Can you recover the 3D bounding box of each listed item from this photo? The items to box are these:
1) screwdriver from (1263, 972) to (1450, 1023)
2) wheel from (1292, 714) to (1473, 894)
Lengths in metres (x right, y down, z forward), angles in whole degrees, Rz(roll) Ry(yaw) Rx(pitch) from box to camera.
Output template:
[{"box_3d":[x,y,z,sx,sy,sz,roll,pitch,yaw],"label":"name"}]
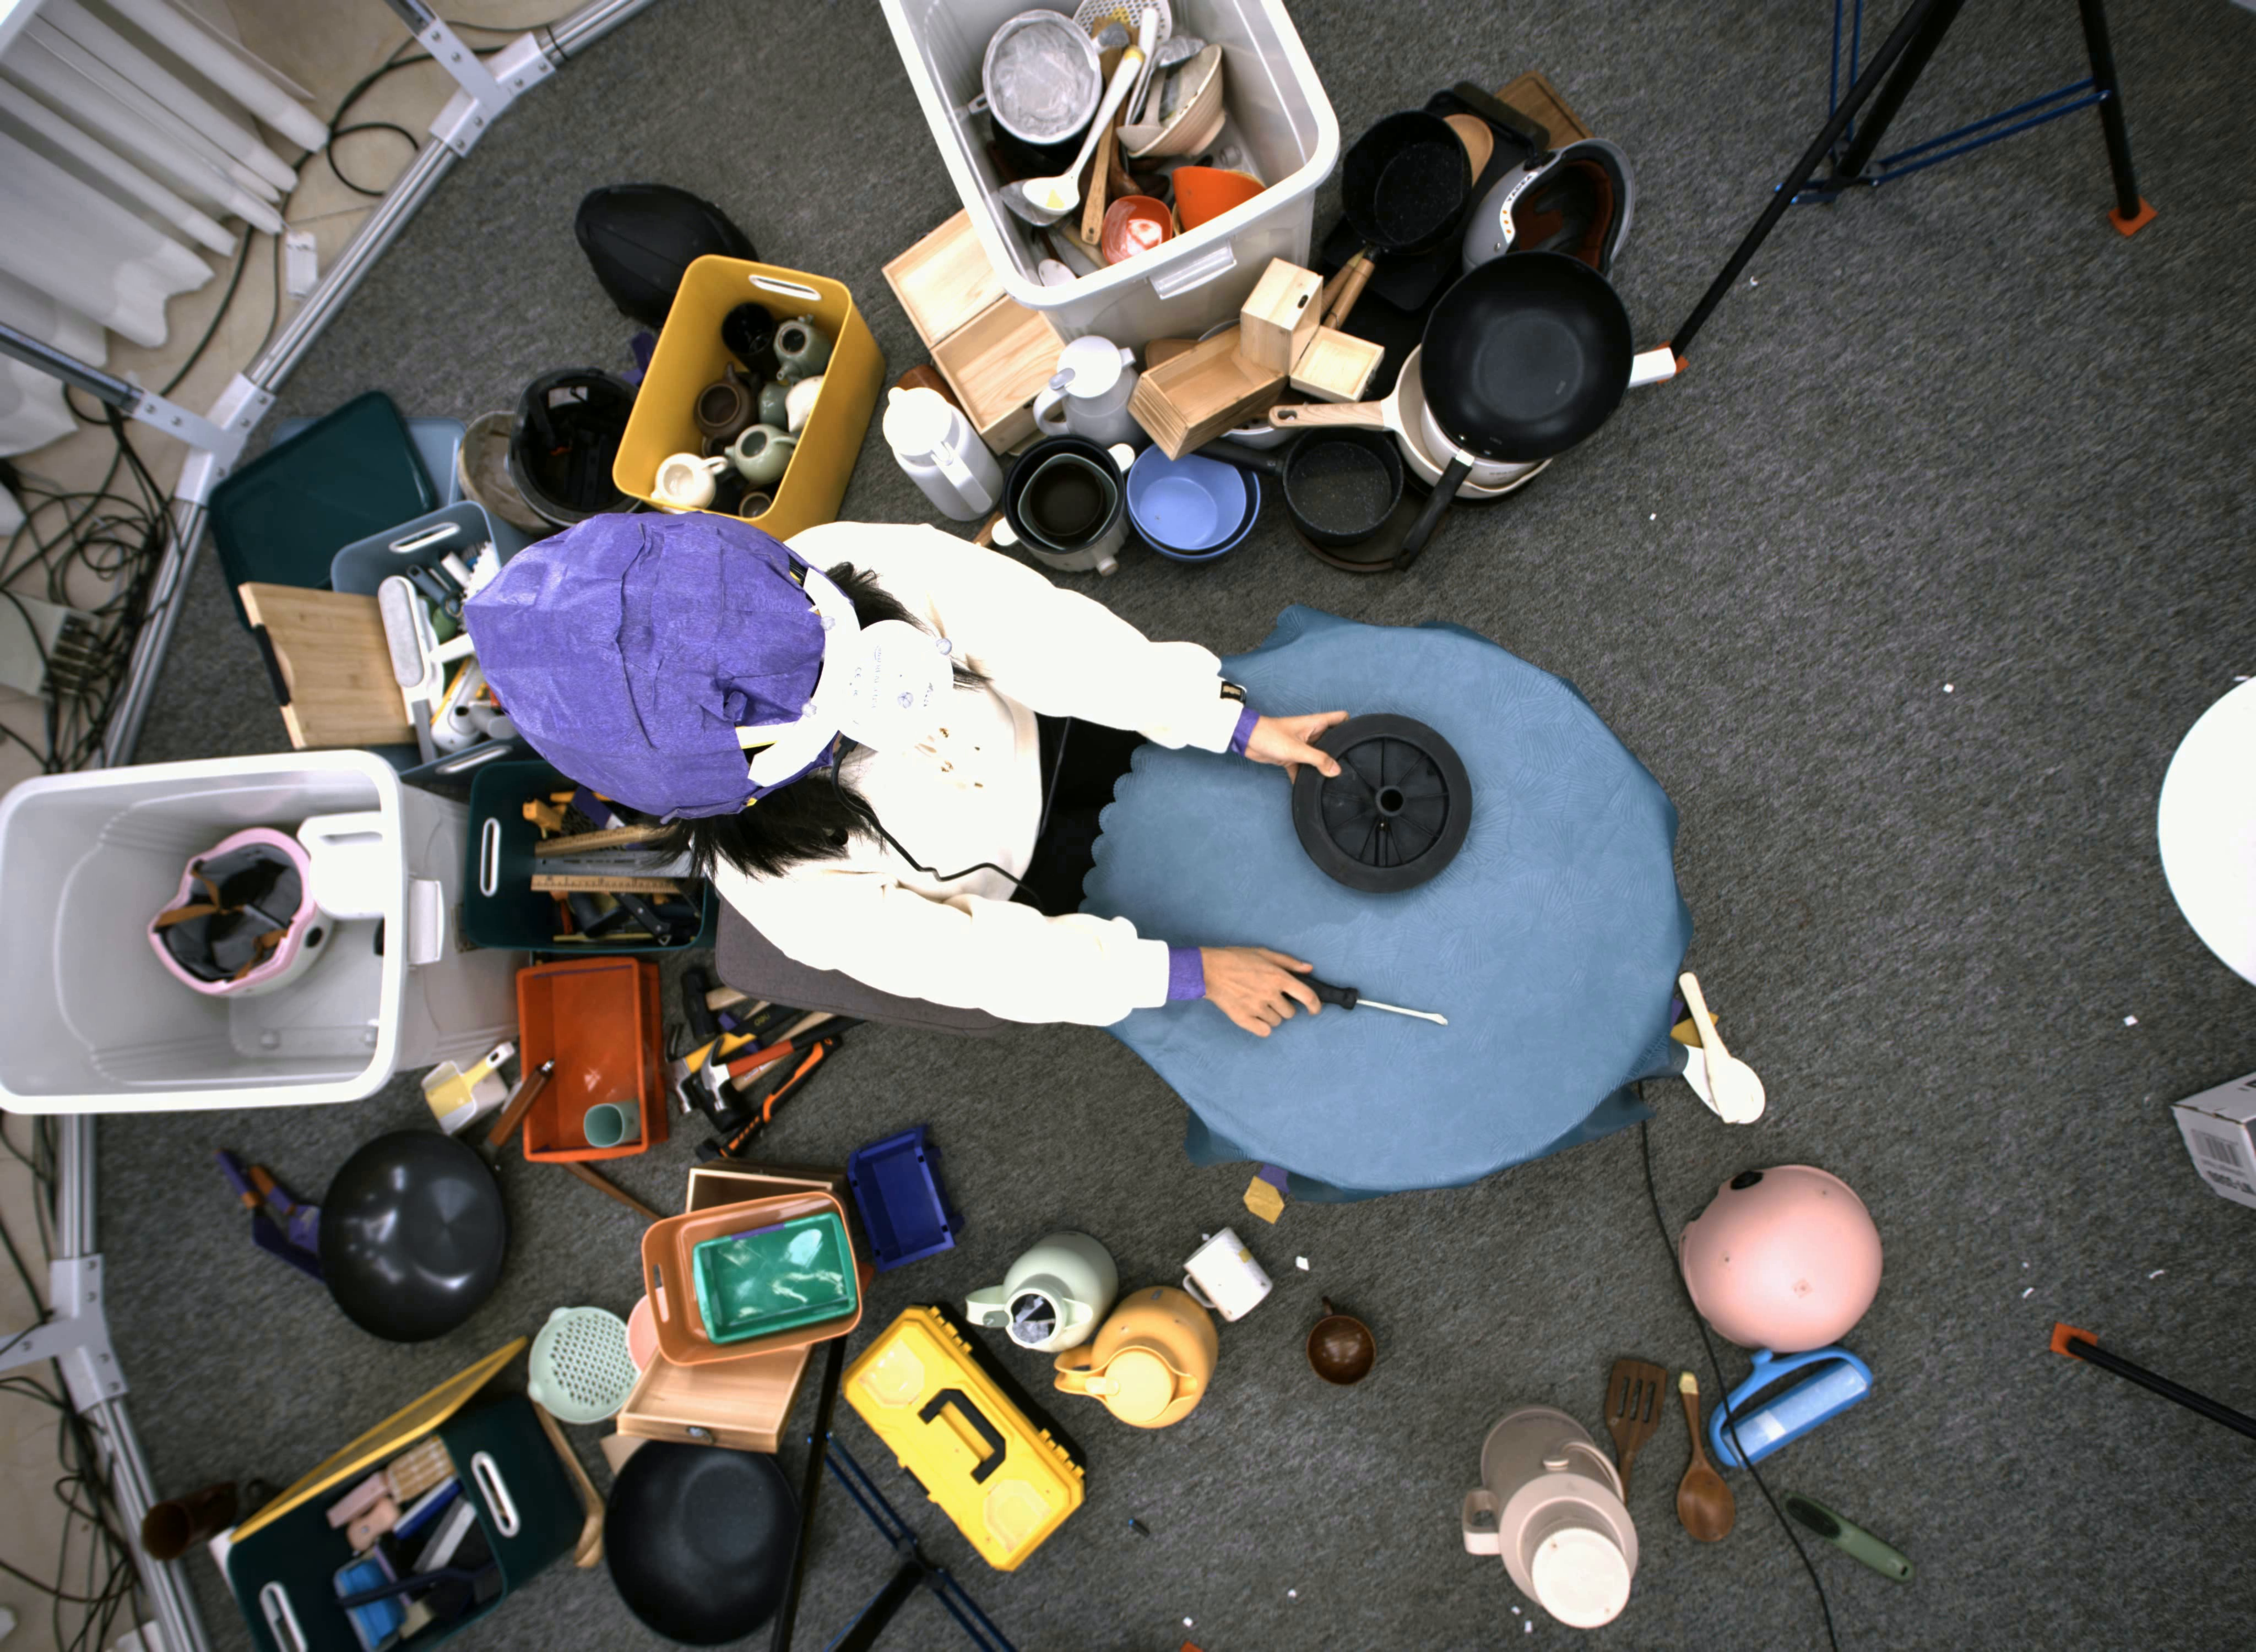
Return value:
[{"box_3d":[0.238,0.185,1.447,0.198,0.031,0.031,14,87,8],"label":"screwdriver"},{"box_3d":[0.266,-0.024,1.421,0.188,0.079,0.190,-22,93,2],"label":"wheel"}]
